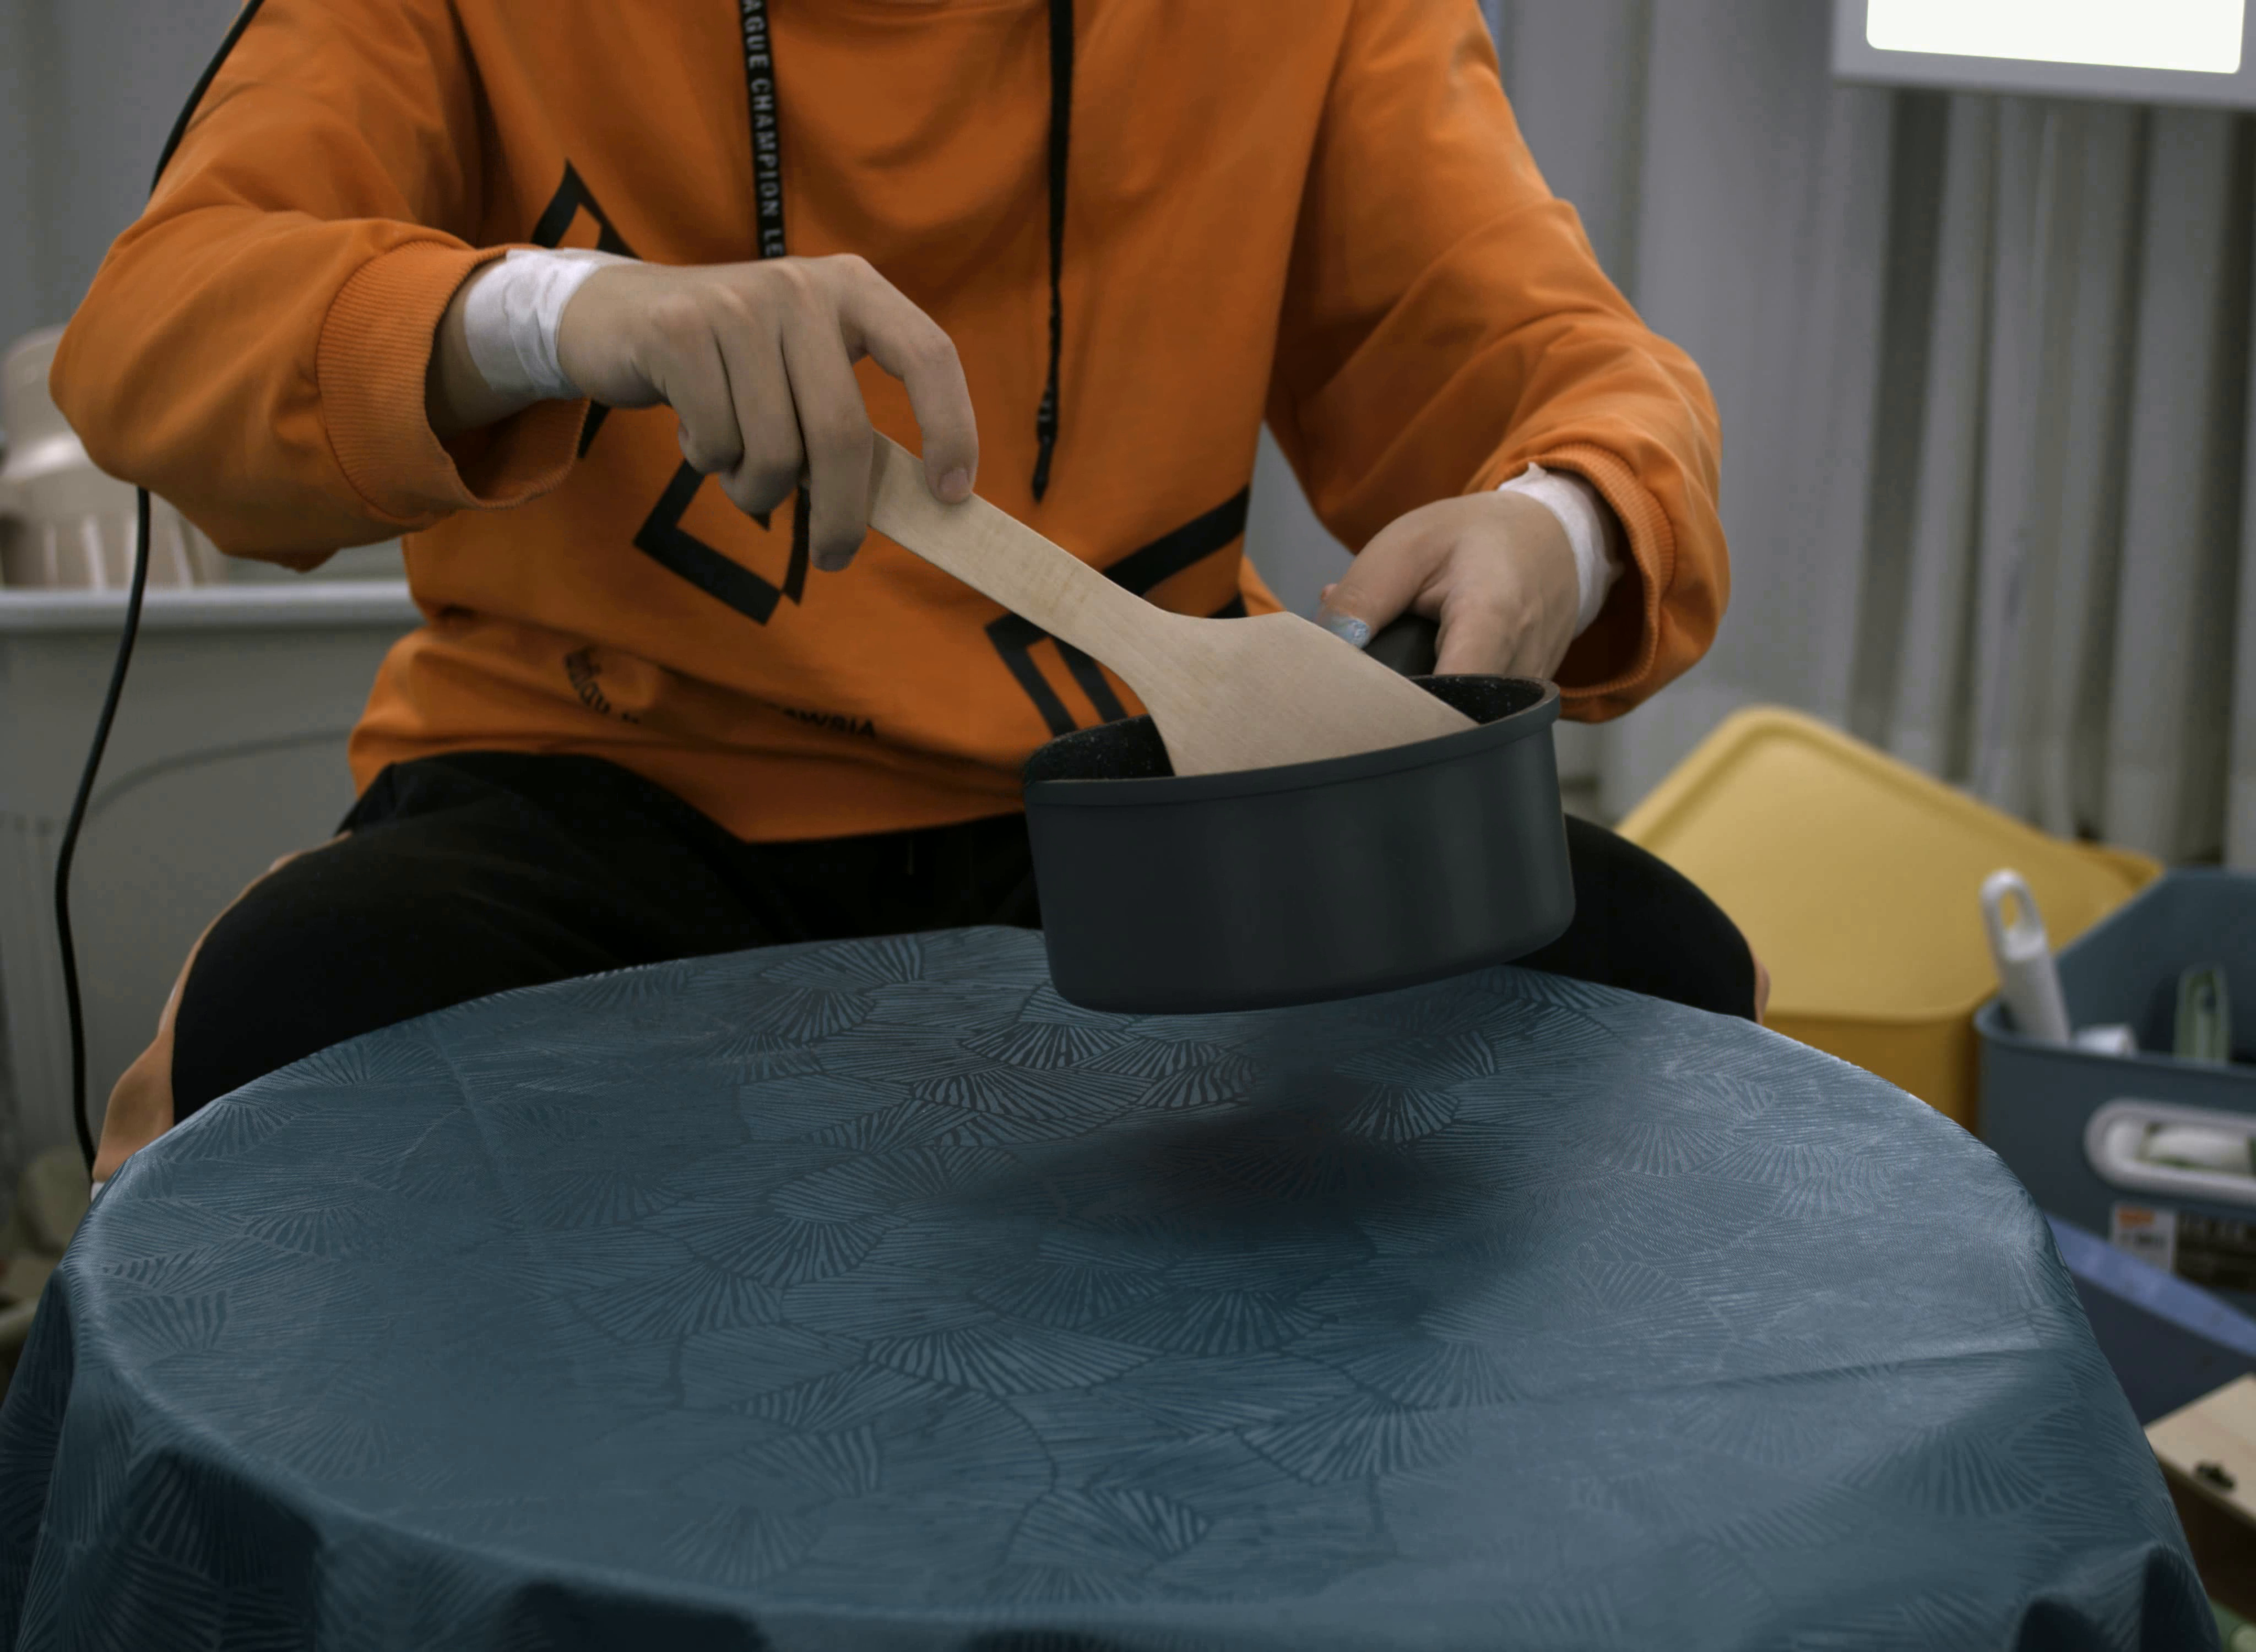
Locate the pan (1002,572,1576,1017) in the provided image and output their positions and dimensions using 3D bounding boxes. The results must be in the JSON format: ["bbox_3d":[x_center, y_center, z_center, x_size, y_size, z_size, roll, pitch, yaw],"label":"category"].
[{"bbox_3d":[0.072,-0.013,1.689,0.170,0.087,0.329,-4,11,17],"label":"pan"}]

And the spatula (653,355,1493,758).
[{"bbox_3d":[-0.024,-0.079,1.670,0.291,0.072,0.011,27,8,12],"label":"spatula"}]
